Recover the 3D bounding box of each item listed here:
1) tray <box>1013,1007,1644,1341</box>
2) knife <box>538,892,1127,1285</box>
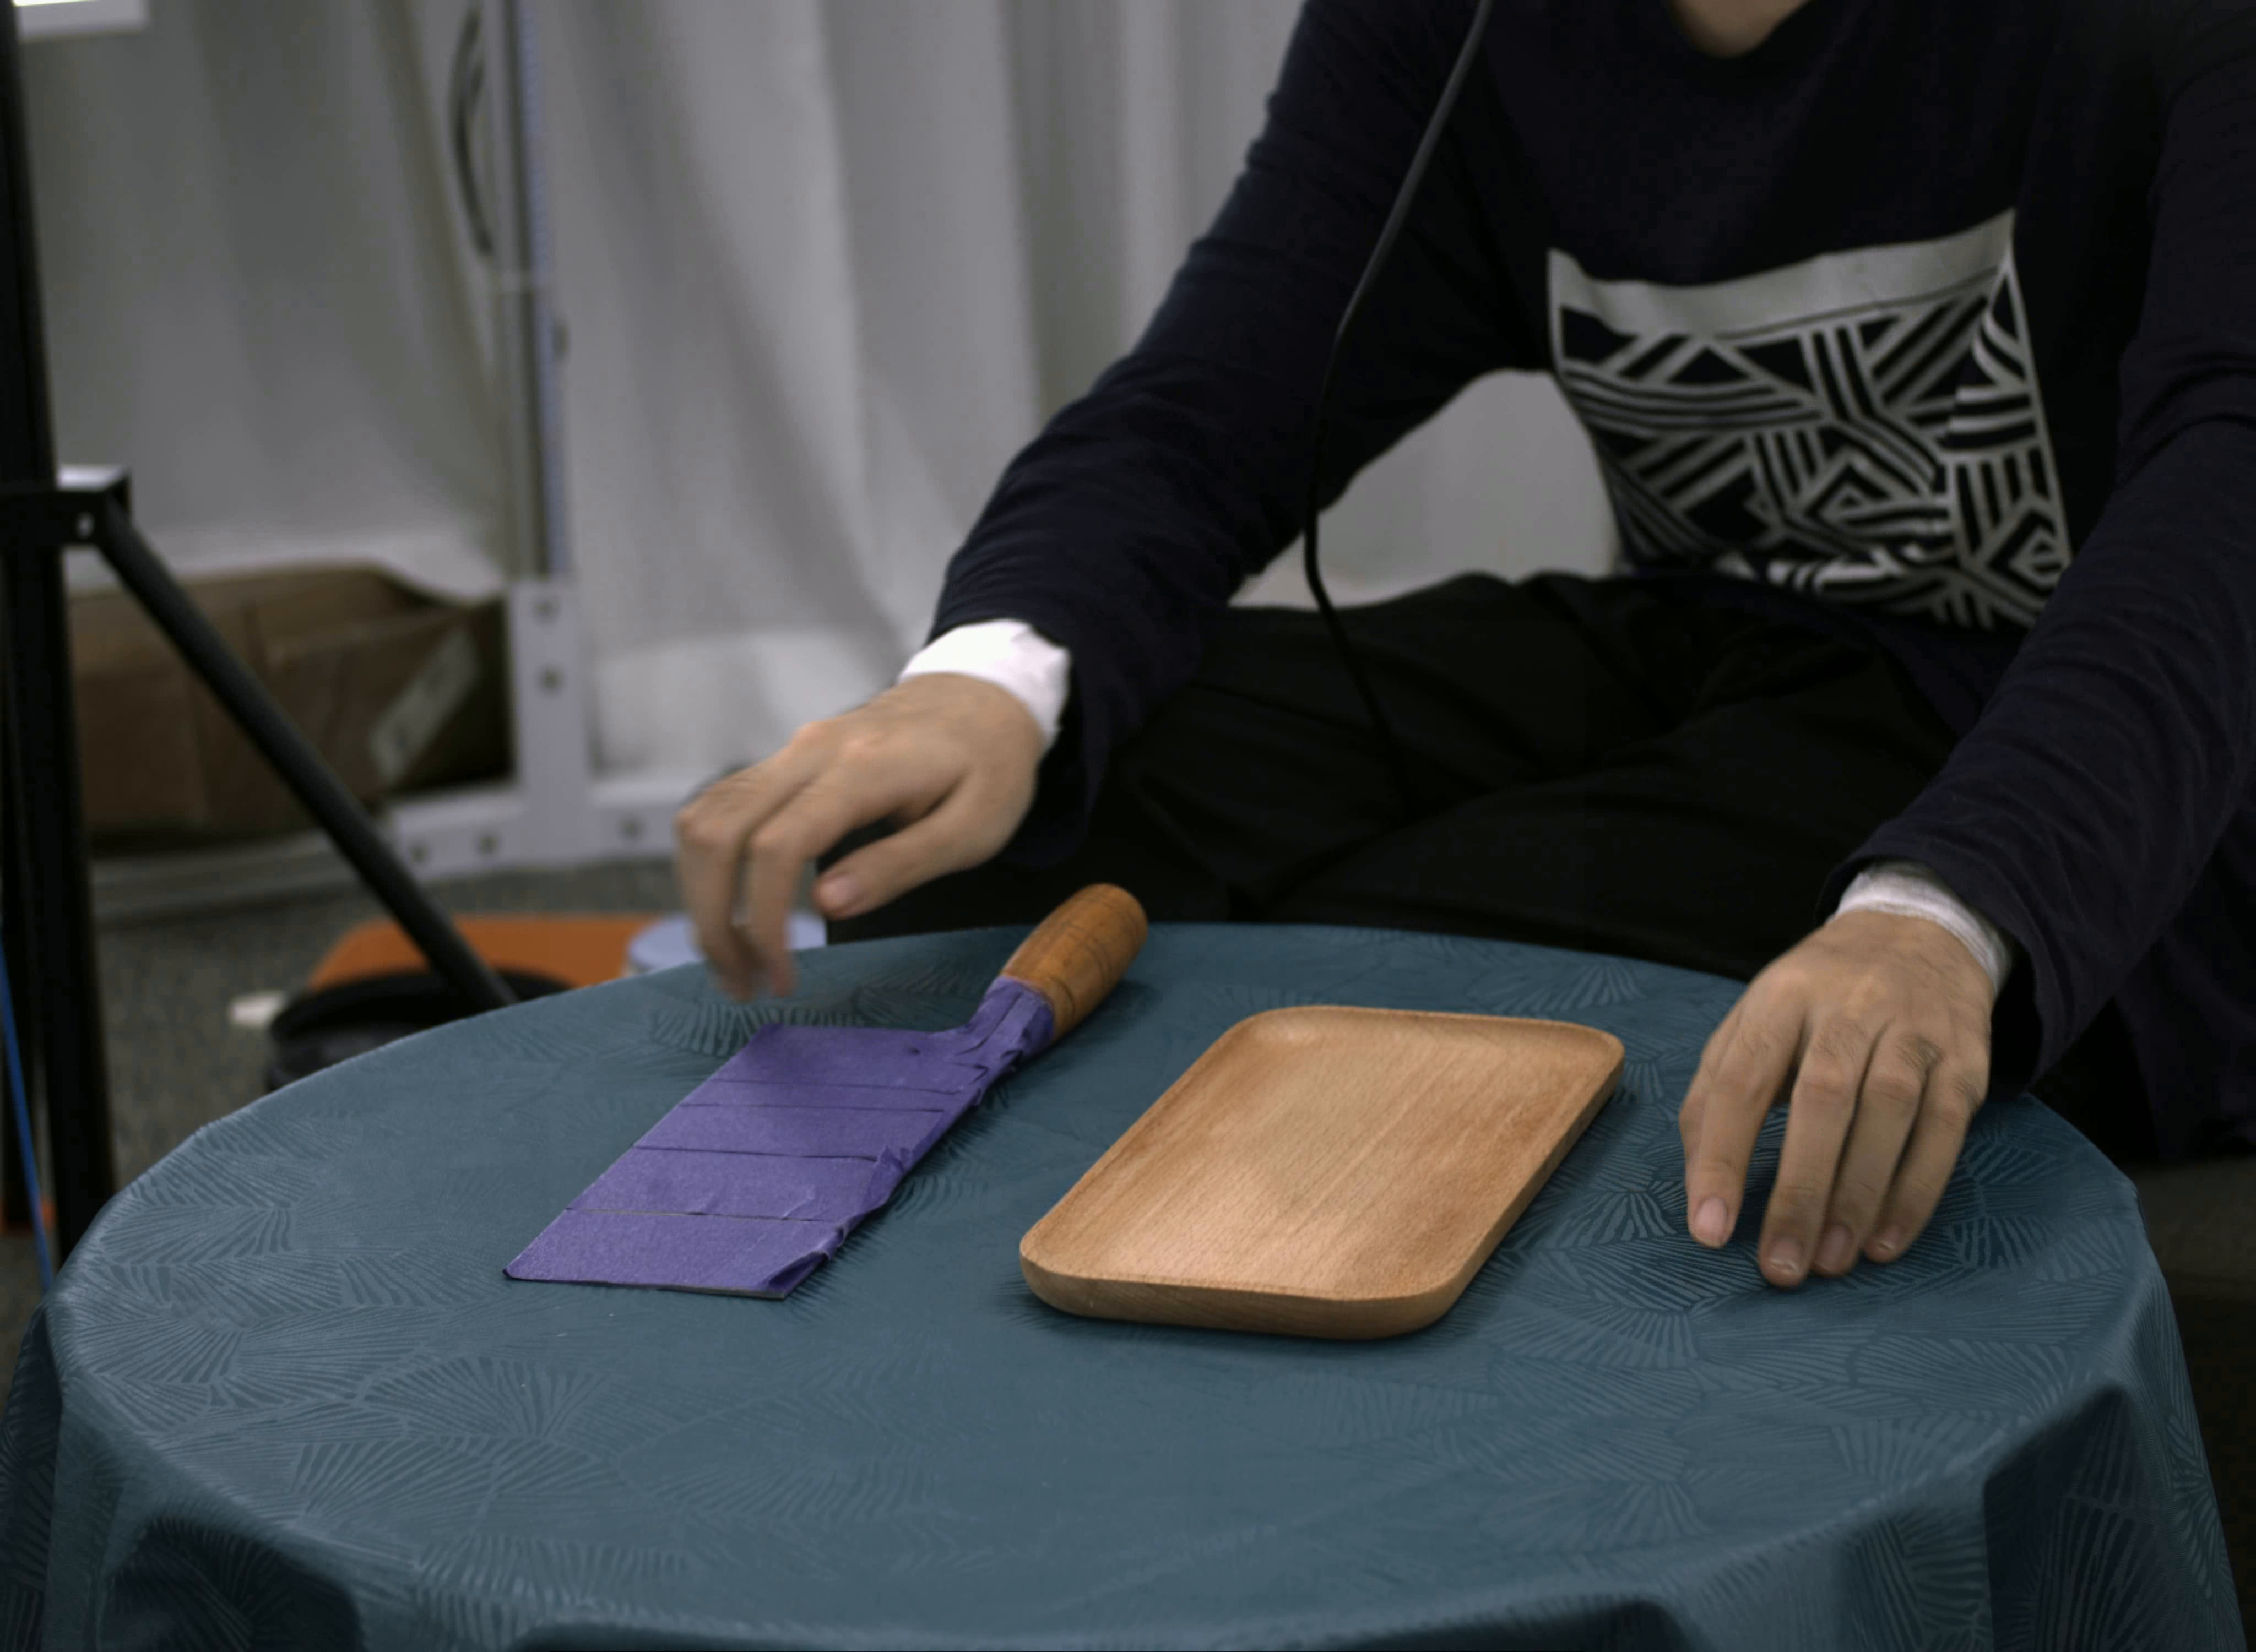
[{"bbox_3d":[0.063,0.099,1.554,0.132,0.023,0.247,6,17,21],"label":"tray"},{"bbox_3d":[-0.087,0.077,1.635,0.105,0.032,0.312,2,17,18],"label":"knife"}]
